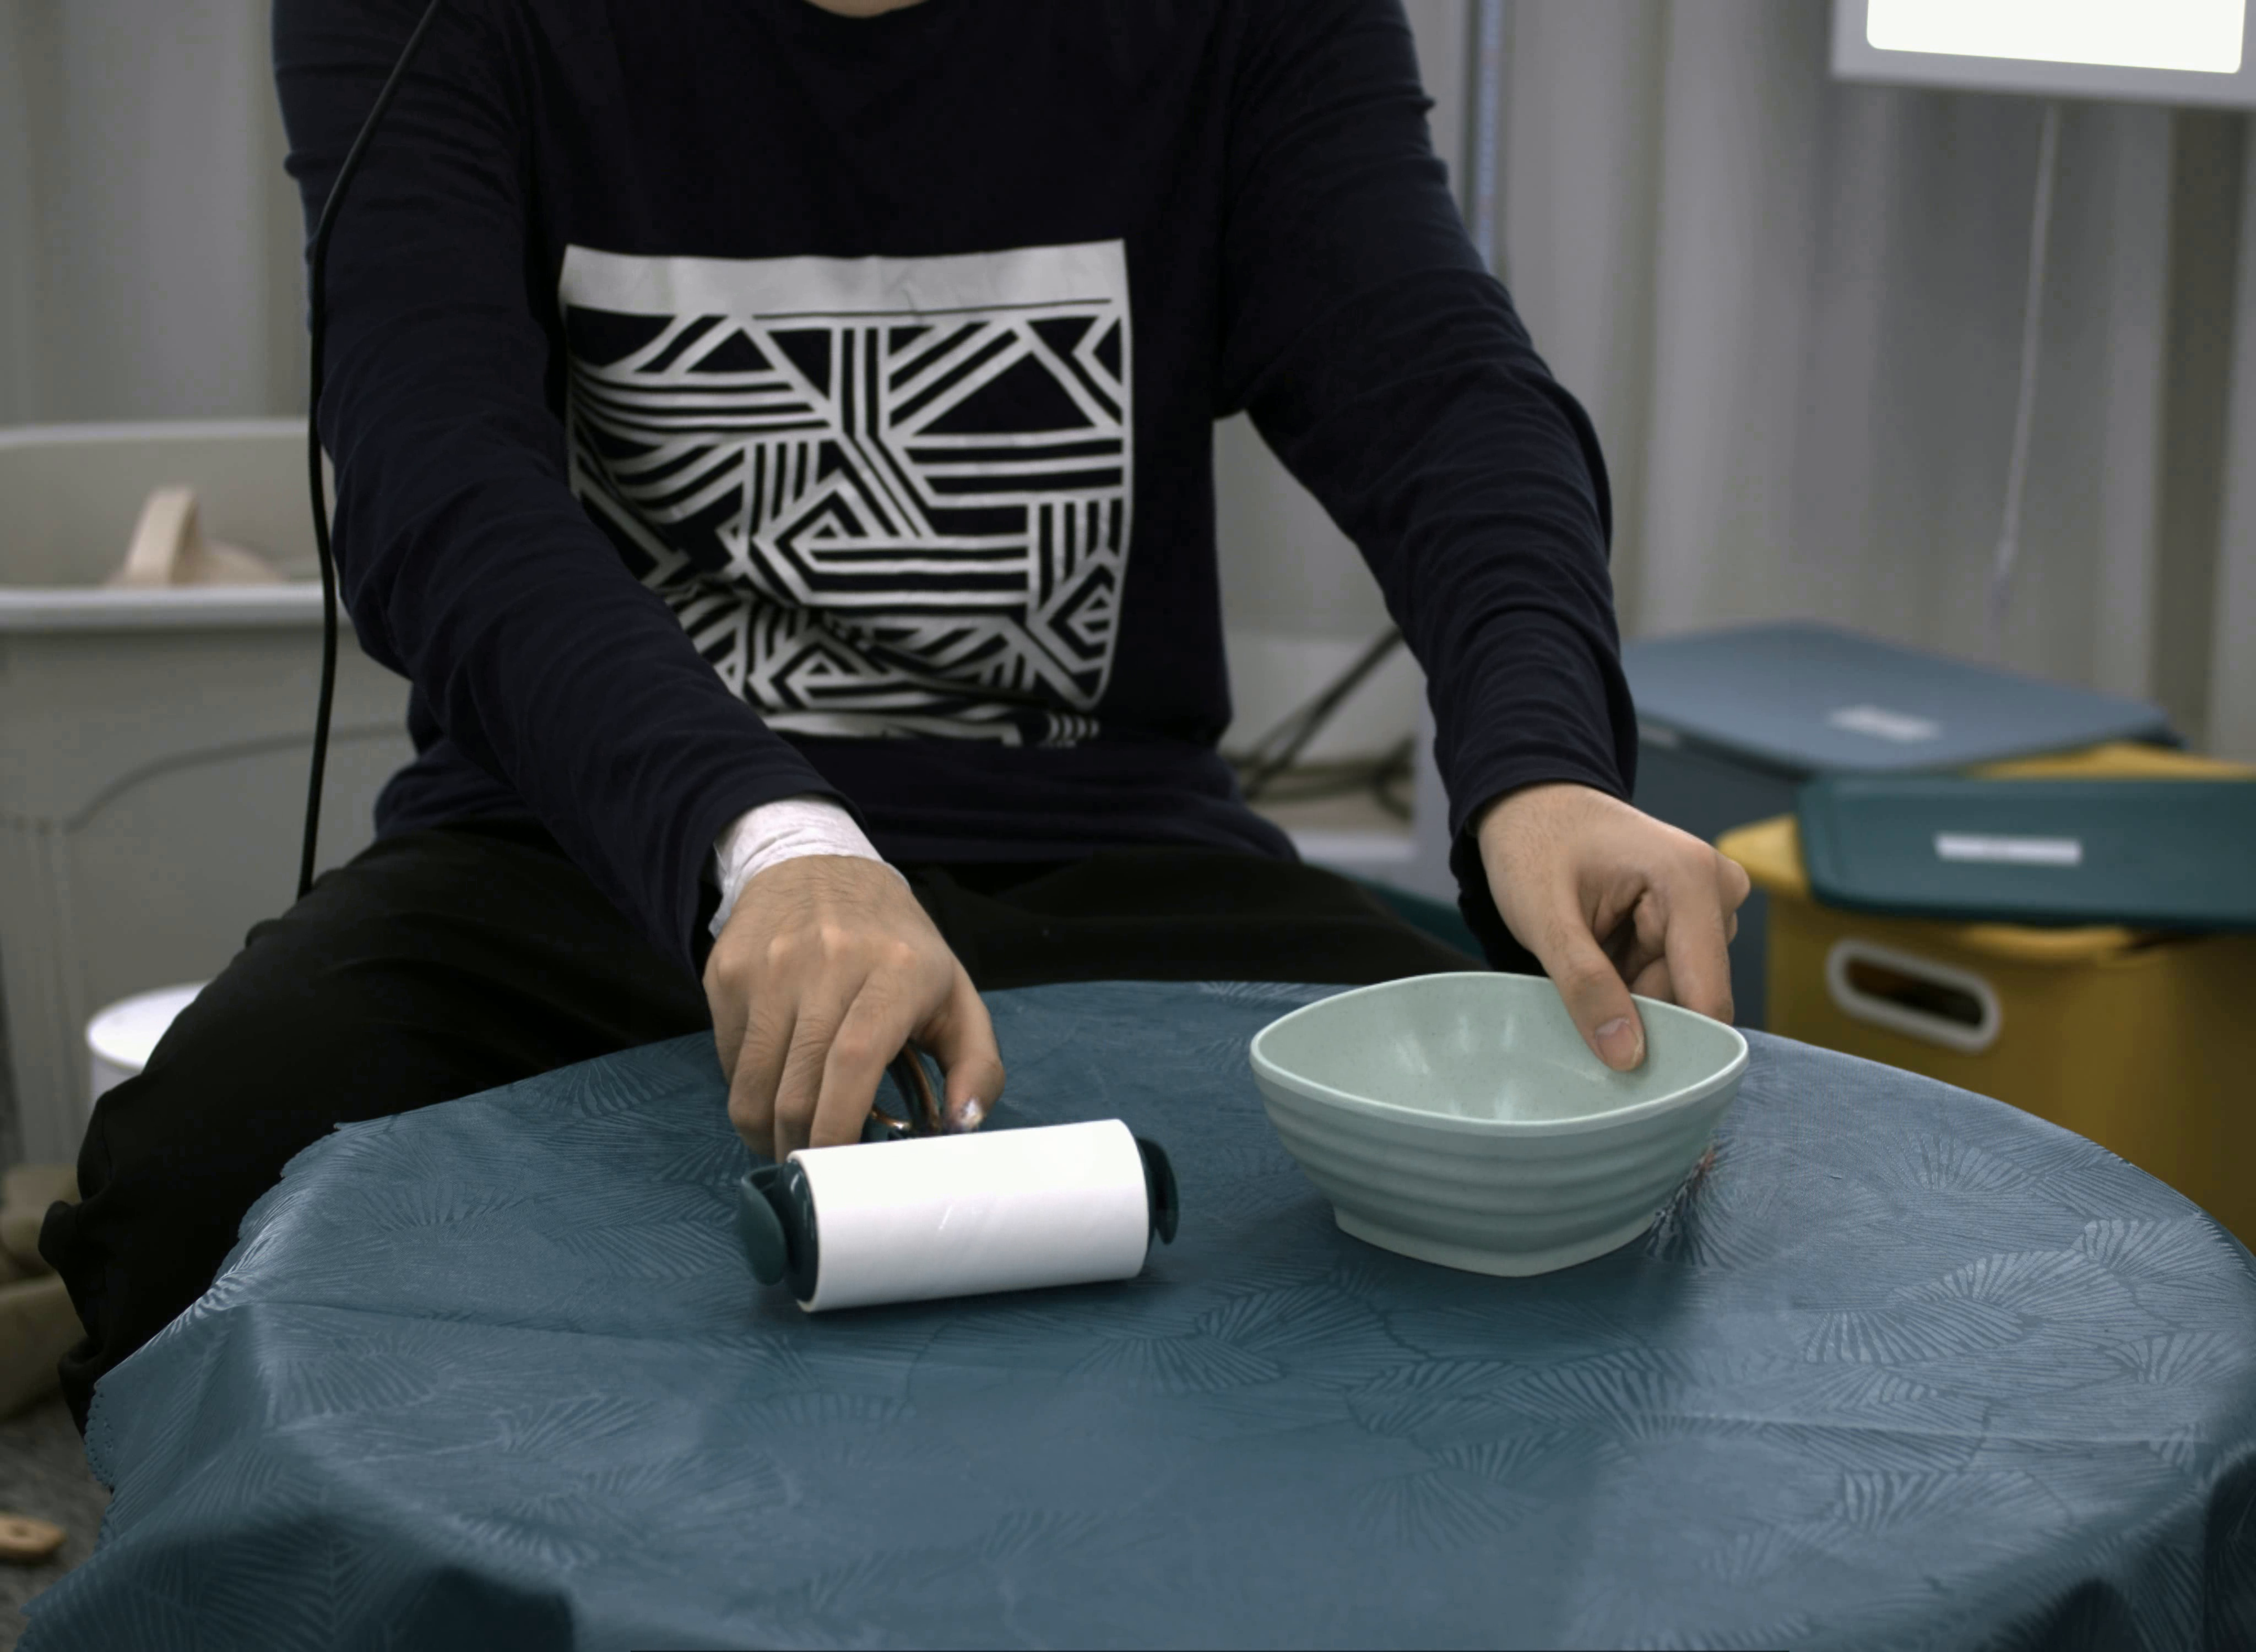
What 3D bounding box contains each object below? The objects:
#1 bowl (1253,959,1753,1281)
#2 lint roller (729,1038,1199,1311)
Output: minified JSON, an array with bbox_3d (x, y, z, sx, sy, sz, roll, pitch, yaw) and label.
[{"bbox_3d":[0.112,0.092,1.594,0.151,0.059,0.150,2,18,0],"label":"bowl"},{"bbox_3d":[-0.069,0.086,1.587,0.134,0.049,0.178,-4,25,-18],"label":"lint roller"}]
